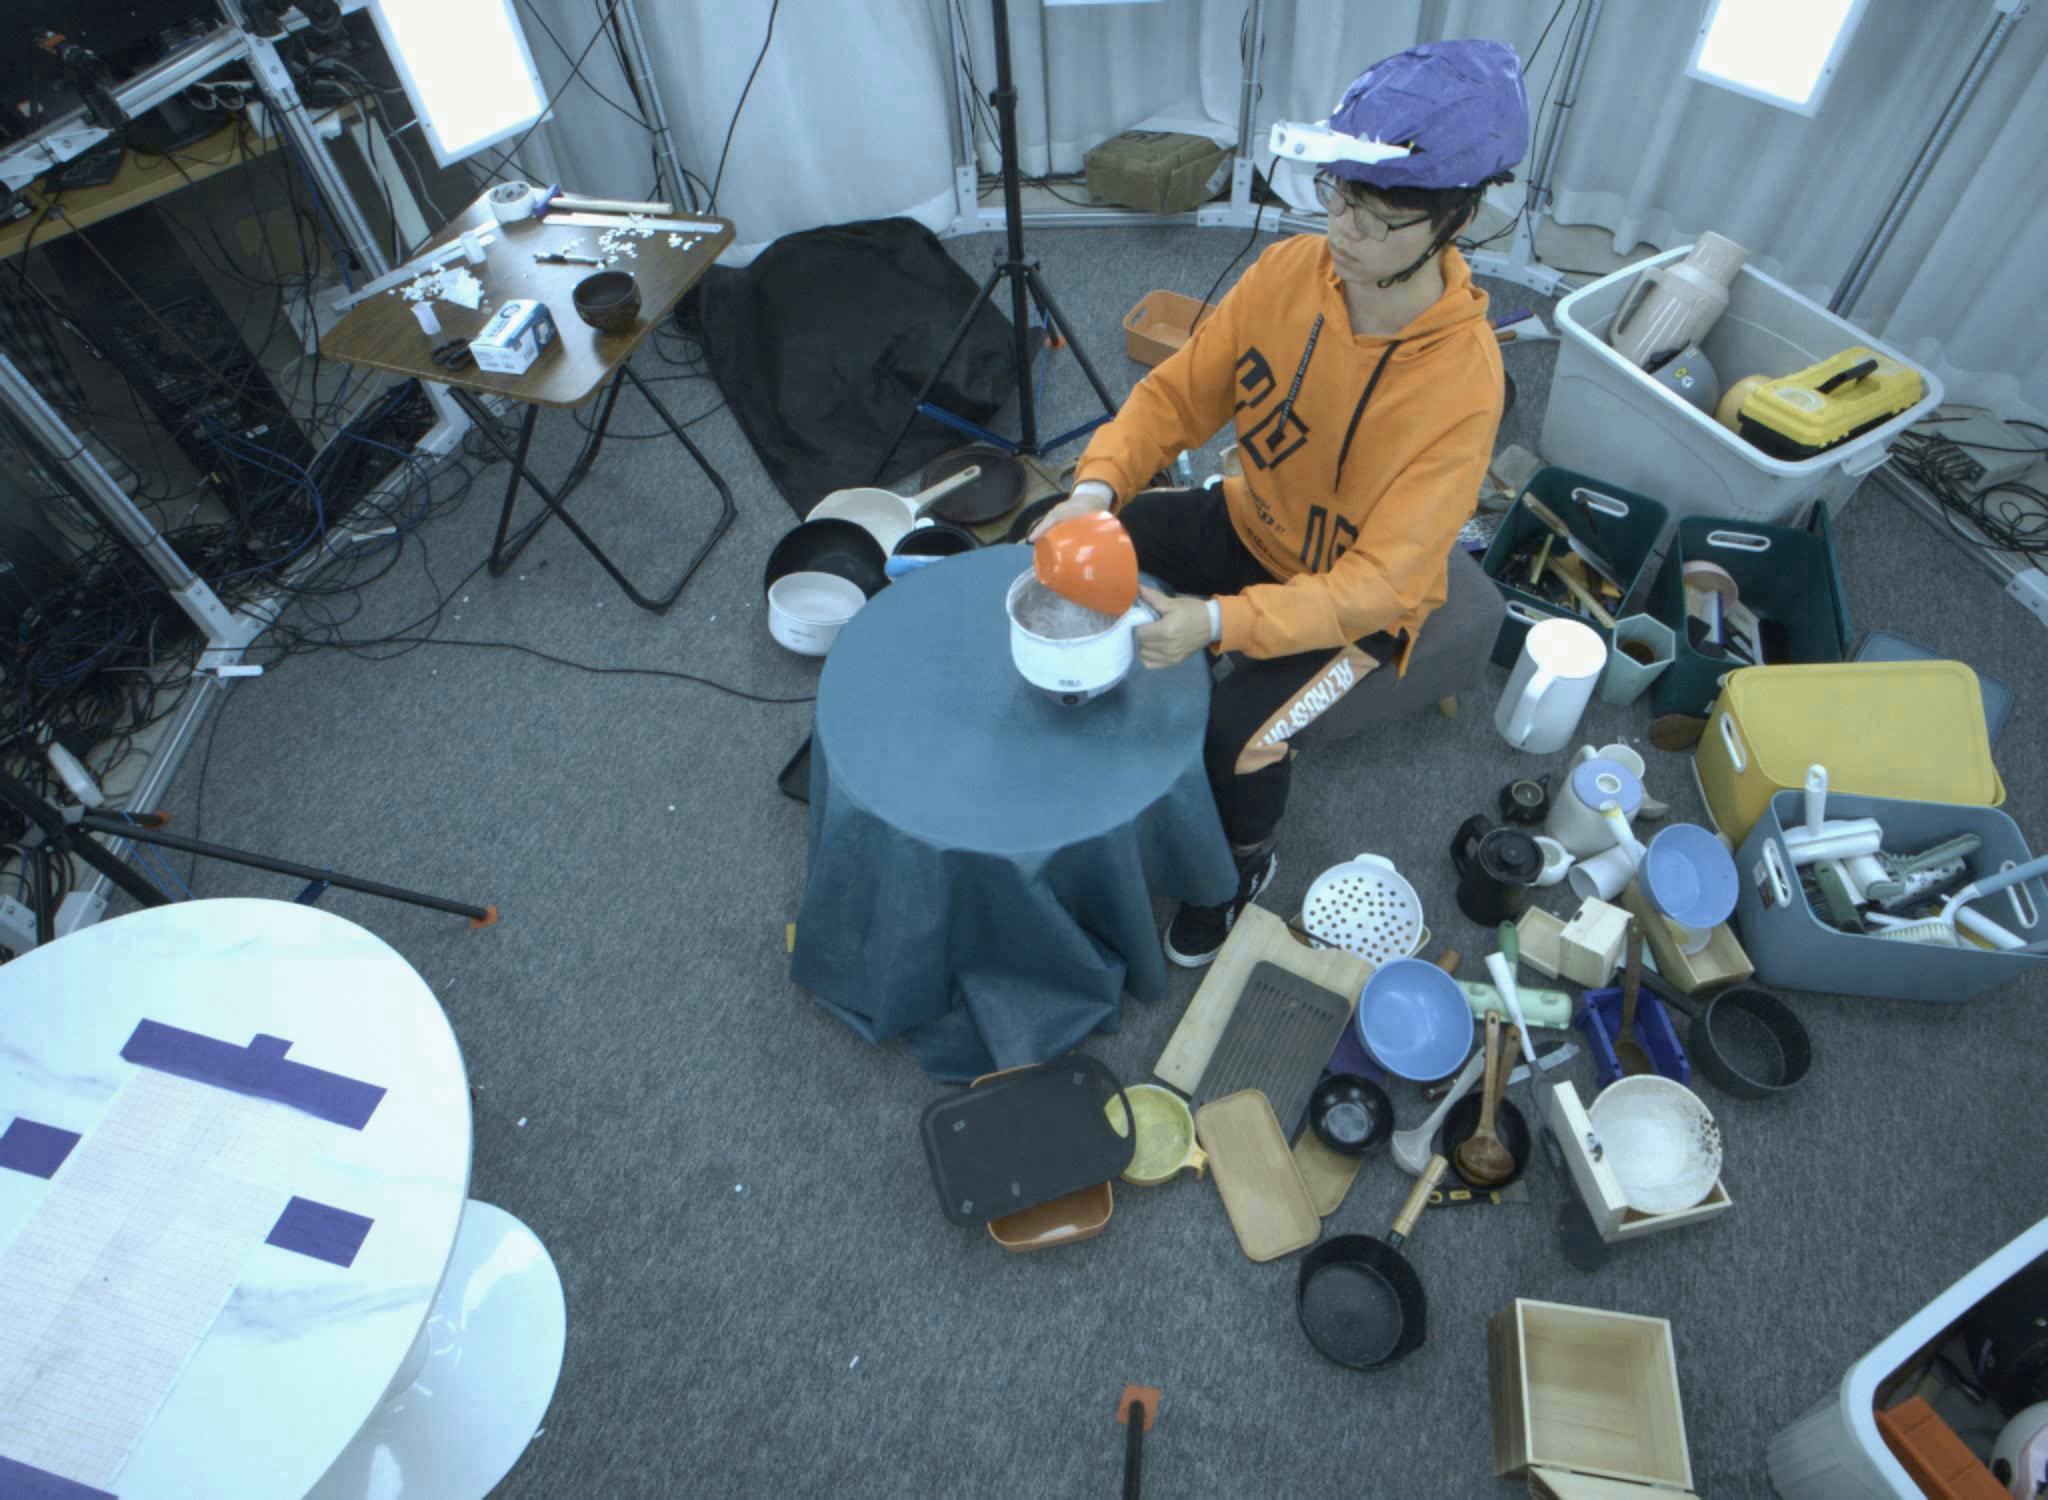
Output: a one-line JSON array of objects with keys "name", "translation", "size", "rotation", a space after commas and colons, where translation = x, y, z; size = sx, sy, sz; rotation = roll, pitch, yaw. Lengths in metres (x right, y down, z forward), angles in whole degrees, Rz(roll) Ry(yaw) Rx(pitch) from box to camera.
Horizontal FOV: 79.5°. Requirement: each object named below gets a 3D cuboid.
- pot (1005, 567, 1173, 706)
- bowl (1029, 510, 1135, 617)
[{"name": "pot", "translation": [0.095, -0.170, 1.754], "size": [0.233, 0.138, 0.177], "rotation": [-1, 51, 4]}, {"name": "bowl", "translation": [0.070, -0.250, 1.666], "size": [0.106, 0.148, 0.145], "rotation": [-9, 53, -25]}]
